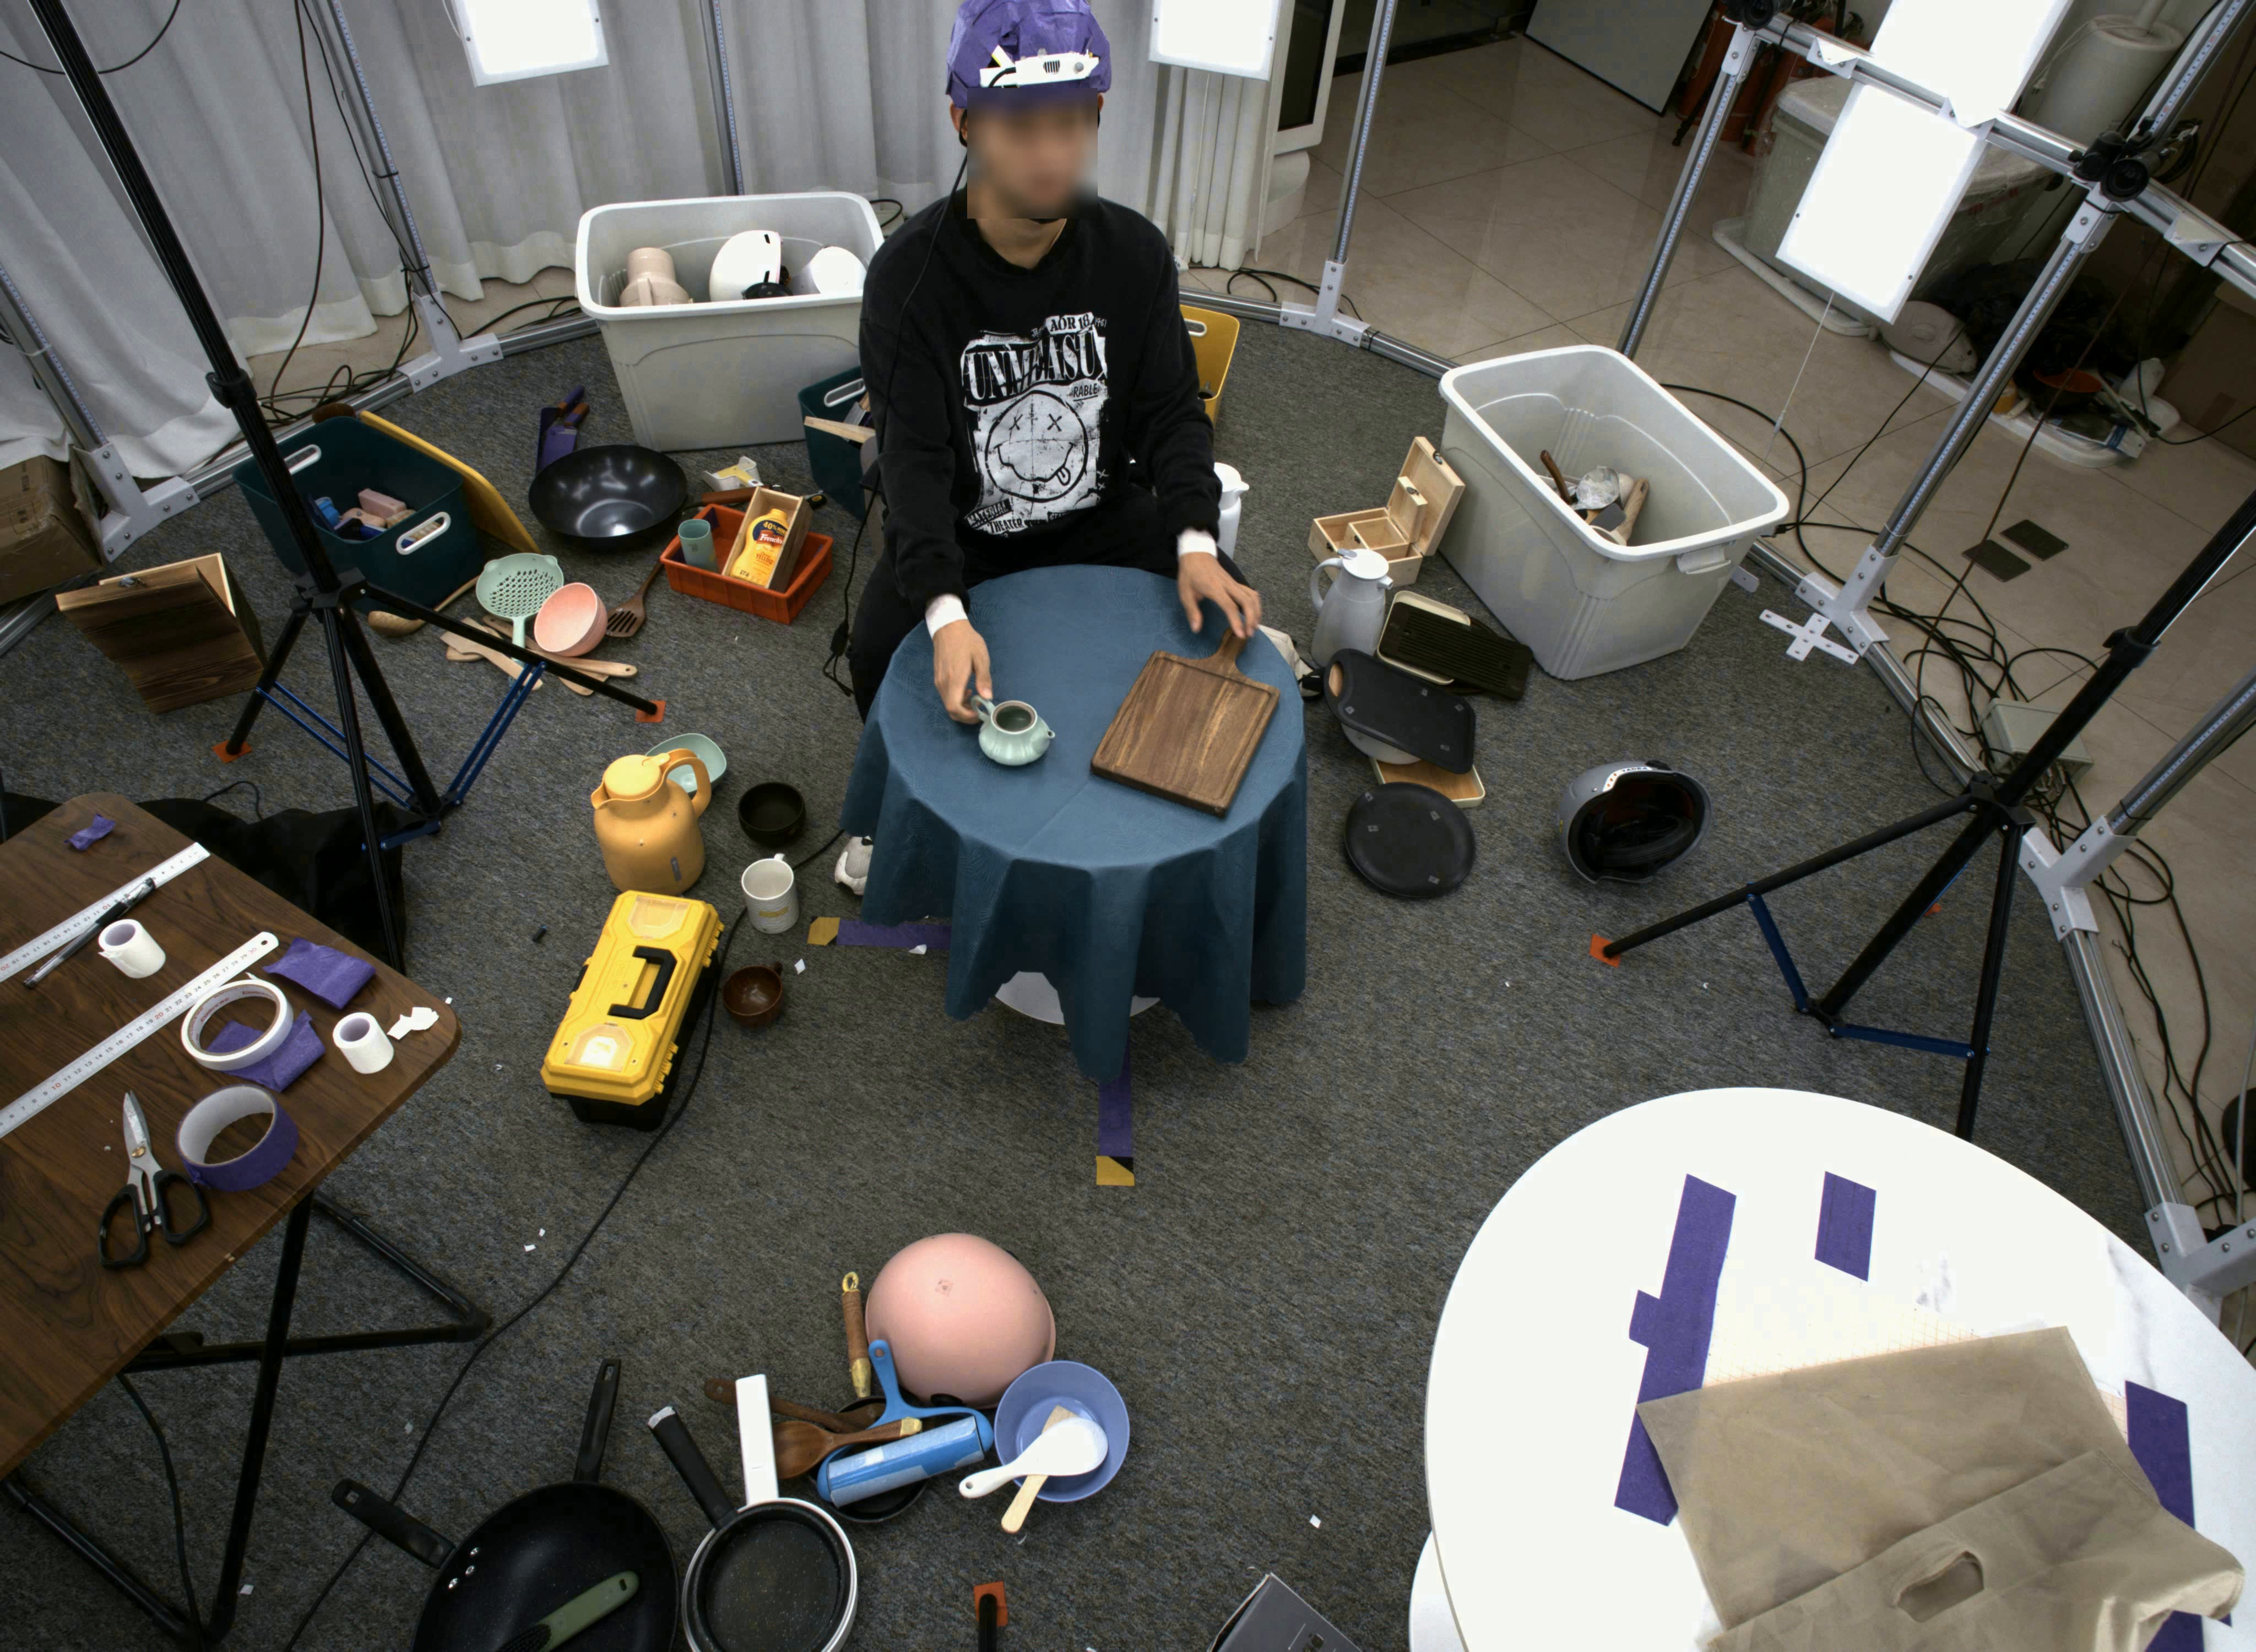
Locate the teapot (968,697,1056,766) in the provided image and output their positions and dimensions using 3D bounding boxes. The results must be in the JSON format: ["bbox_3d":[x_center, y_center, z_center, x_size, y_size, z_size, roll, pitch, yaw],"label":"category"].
[{"bbox_3d":[-0.157,-0.131,1.735,0.138,0.060,0.097,26,55,18],"label":"teapot"}]

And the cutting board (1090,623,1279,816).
[{"bbox_3d":[0.100,-0.170,1.808,0.202,0.022,0.359,18,51,11],"label":"cutting board"}]
